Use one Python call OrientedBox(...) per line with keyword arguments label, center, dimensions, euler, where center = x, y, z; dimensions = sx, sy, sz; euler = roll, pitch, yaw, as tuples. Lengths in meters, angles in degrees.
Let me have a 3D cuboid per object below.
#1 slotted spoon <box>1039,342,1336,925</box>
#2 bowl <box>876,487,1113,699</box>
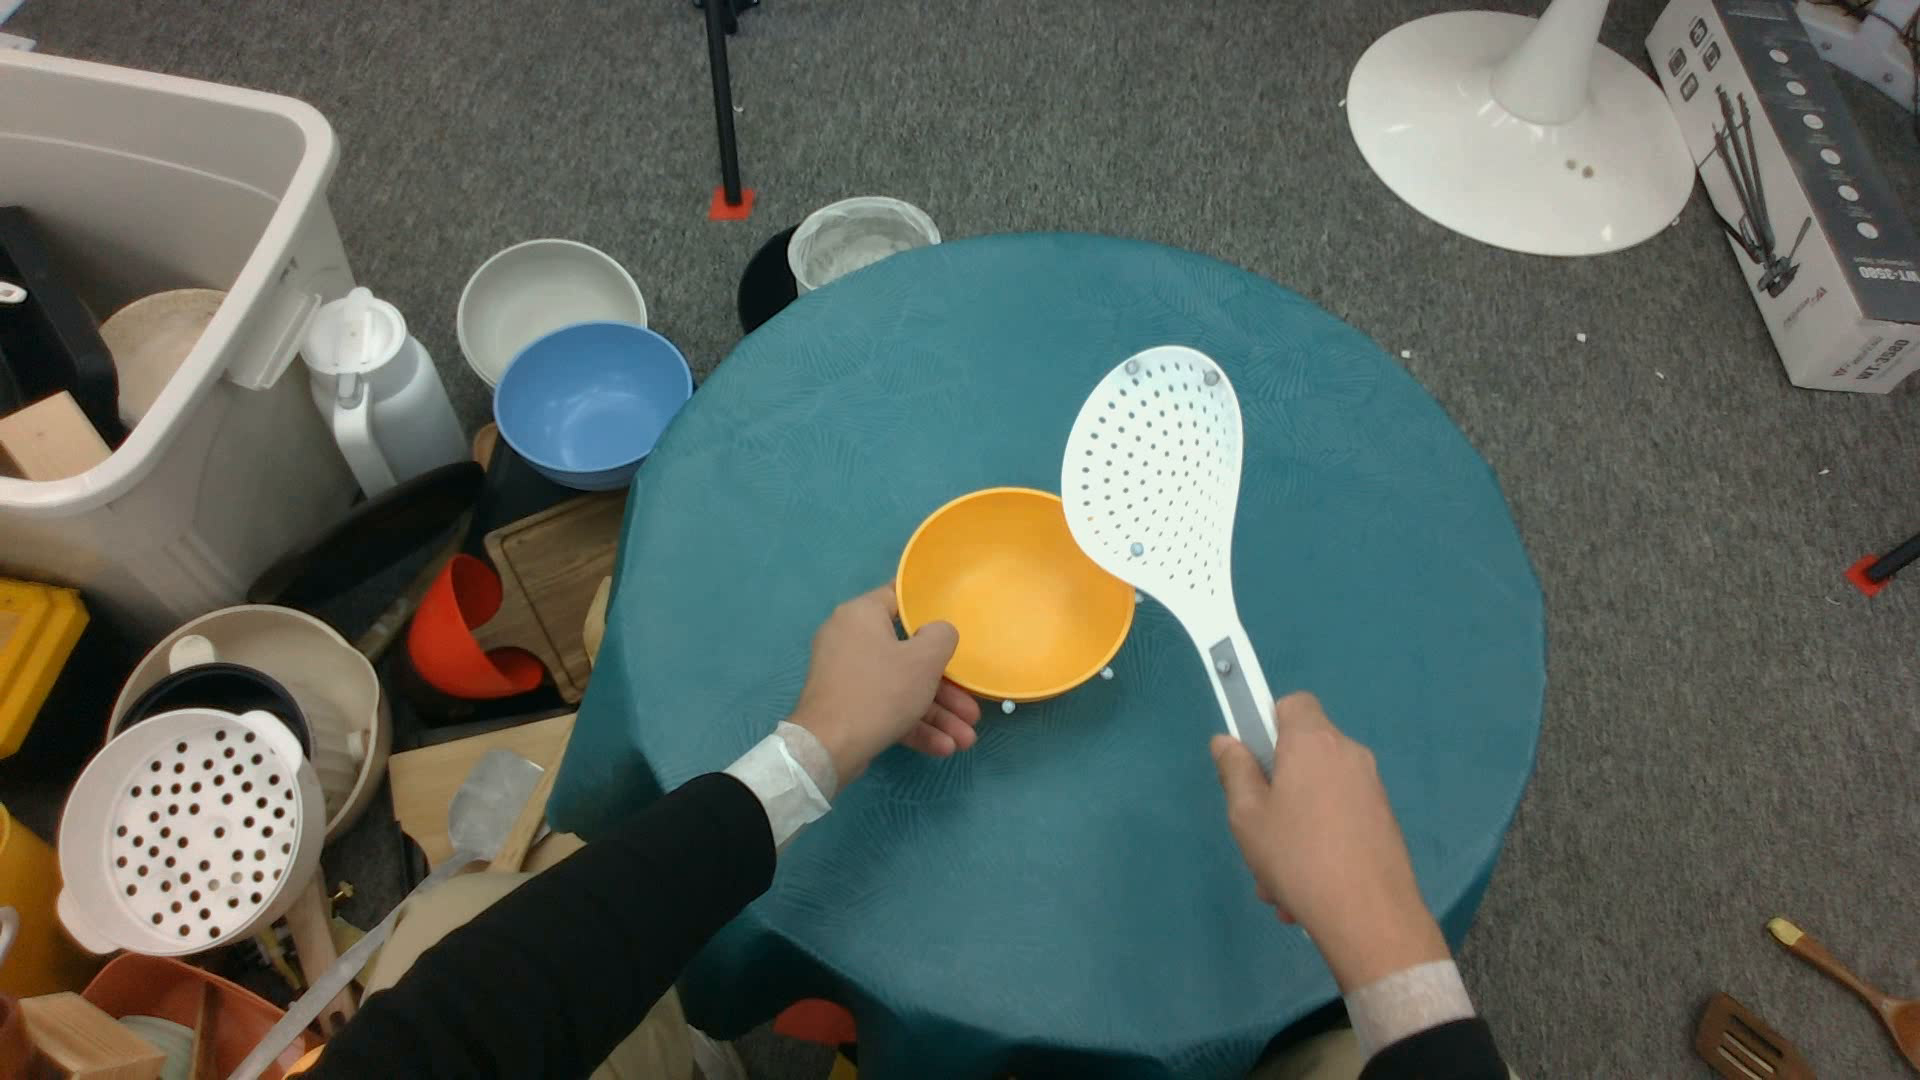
OrientedBox(label="slotted spoon", center=(0.129, 0.040, 0.758), dimensions=(0.046, 0.135, 0.351), euler=(19, 44, -38))
OrientedBox(label="bowl", center=(0.020, 0.042, 0.846), dimensions=(0.145, 0.060, 0.146), euler=(2, 56, -3))
